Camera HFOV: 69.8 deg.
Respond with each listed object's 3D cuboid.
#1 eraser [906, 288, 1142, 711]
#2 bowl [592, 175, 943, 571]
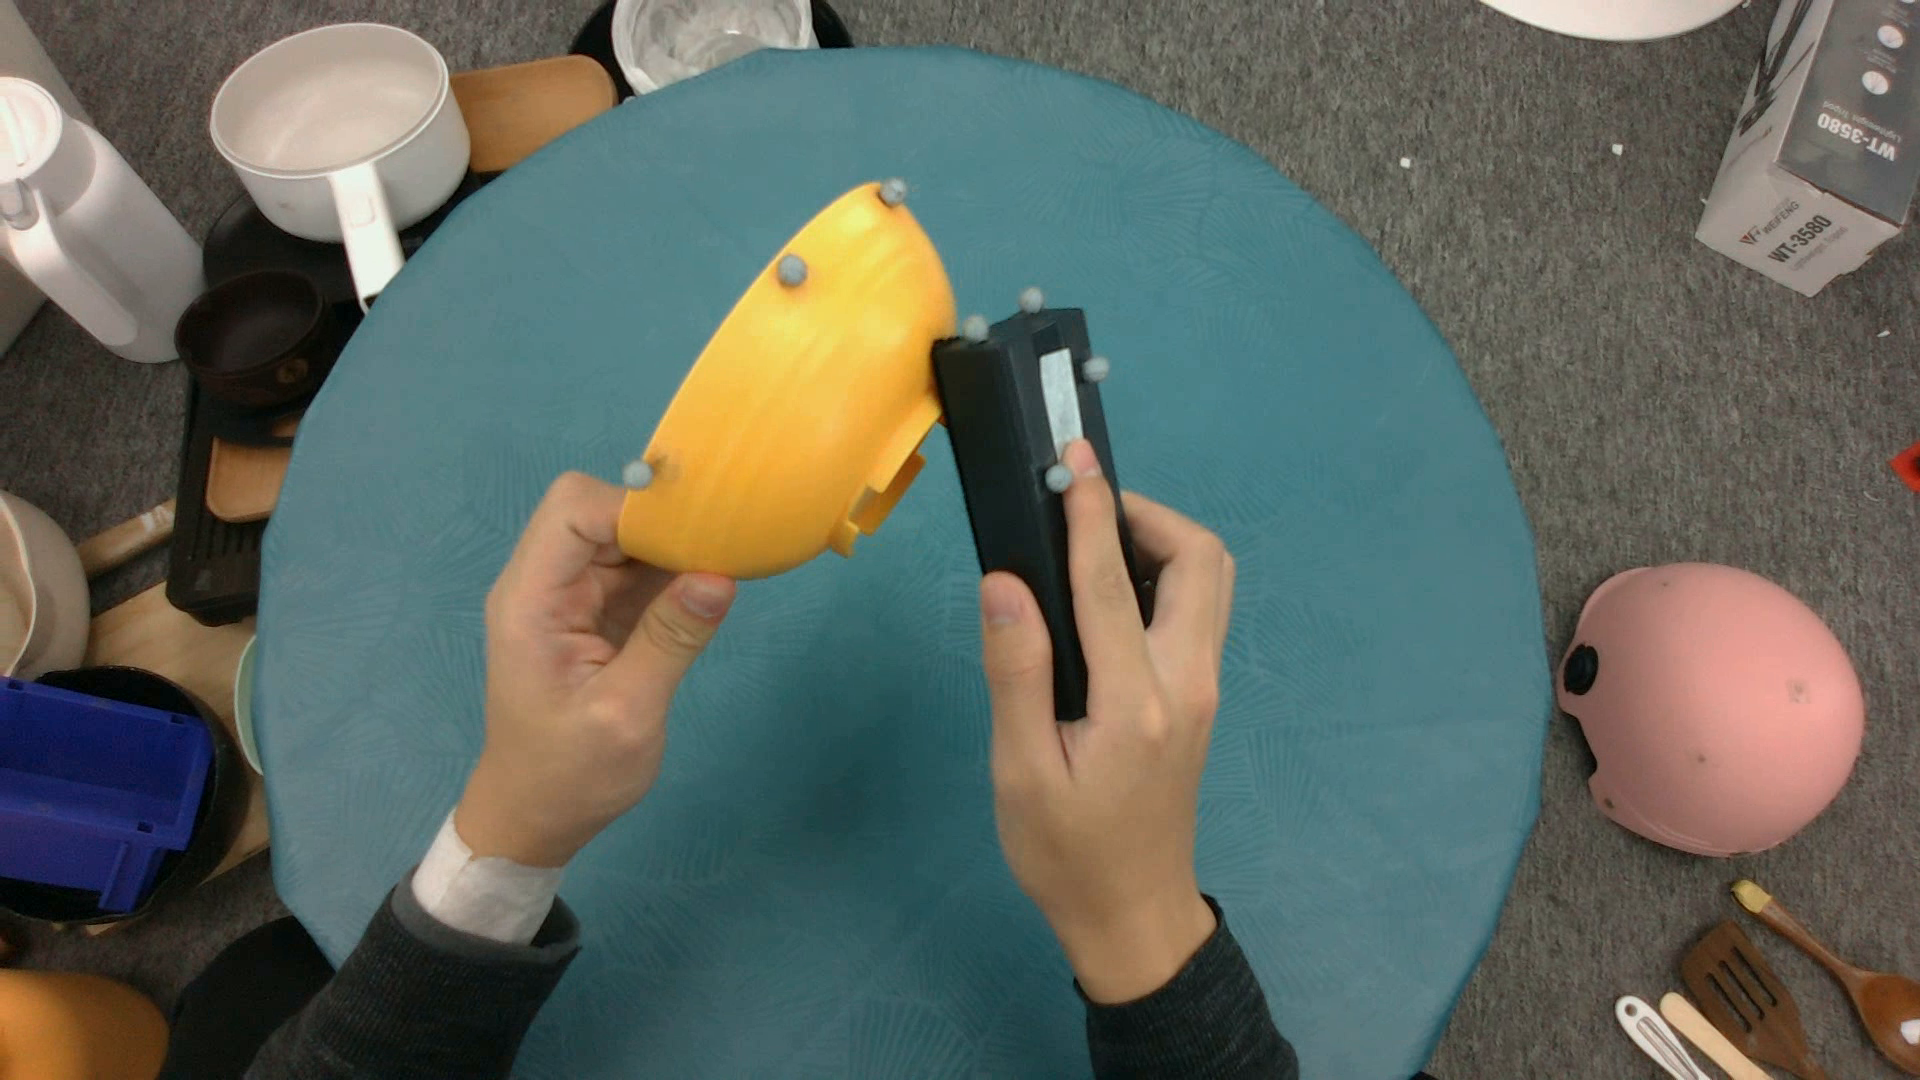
[{"bbox_3d":[0.023,-0.012,0.437,0.054,0.030,0.125,-38,119,-45],"label":"eraser"},{"bbox_3d":[-0.047,-0.040,0.441,0.060,0.145,0.146,37,71,2],"label":"bowl"}]
